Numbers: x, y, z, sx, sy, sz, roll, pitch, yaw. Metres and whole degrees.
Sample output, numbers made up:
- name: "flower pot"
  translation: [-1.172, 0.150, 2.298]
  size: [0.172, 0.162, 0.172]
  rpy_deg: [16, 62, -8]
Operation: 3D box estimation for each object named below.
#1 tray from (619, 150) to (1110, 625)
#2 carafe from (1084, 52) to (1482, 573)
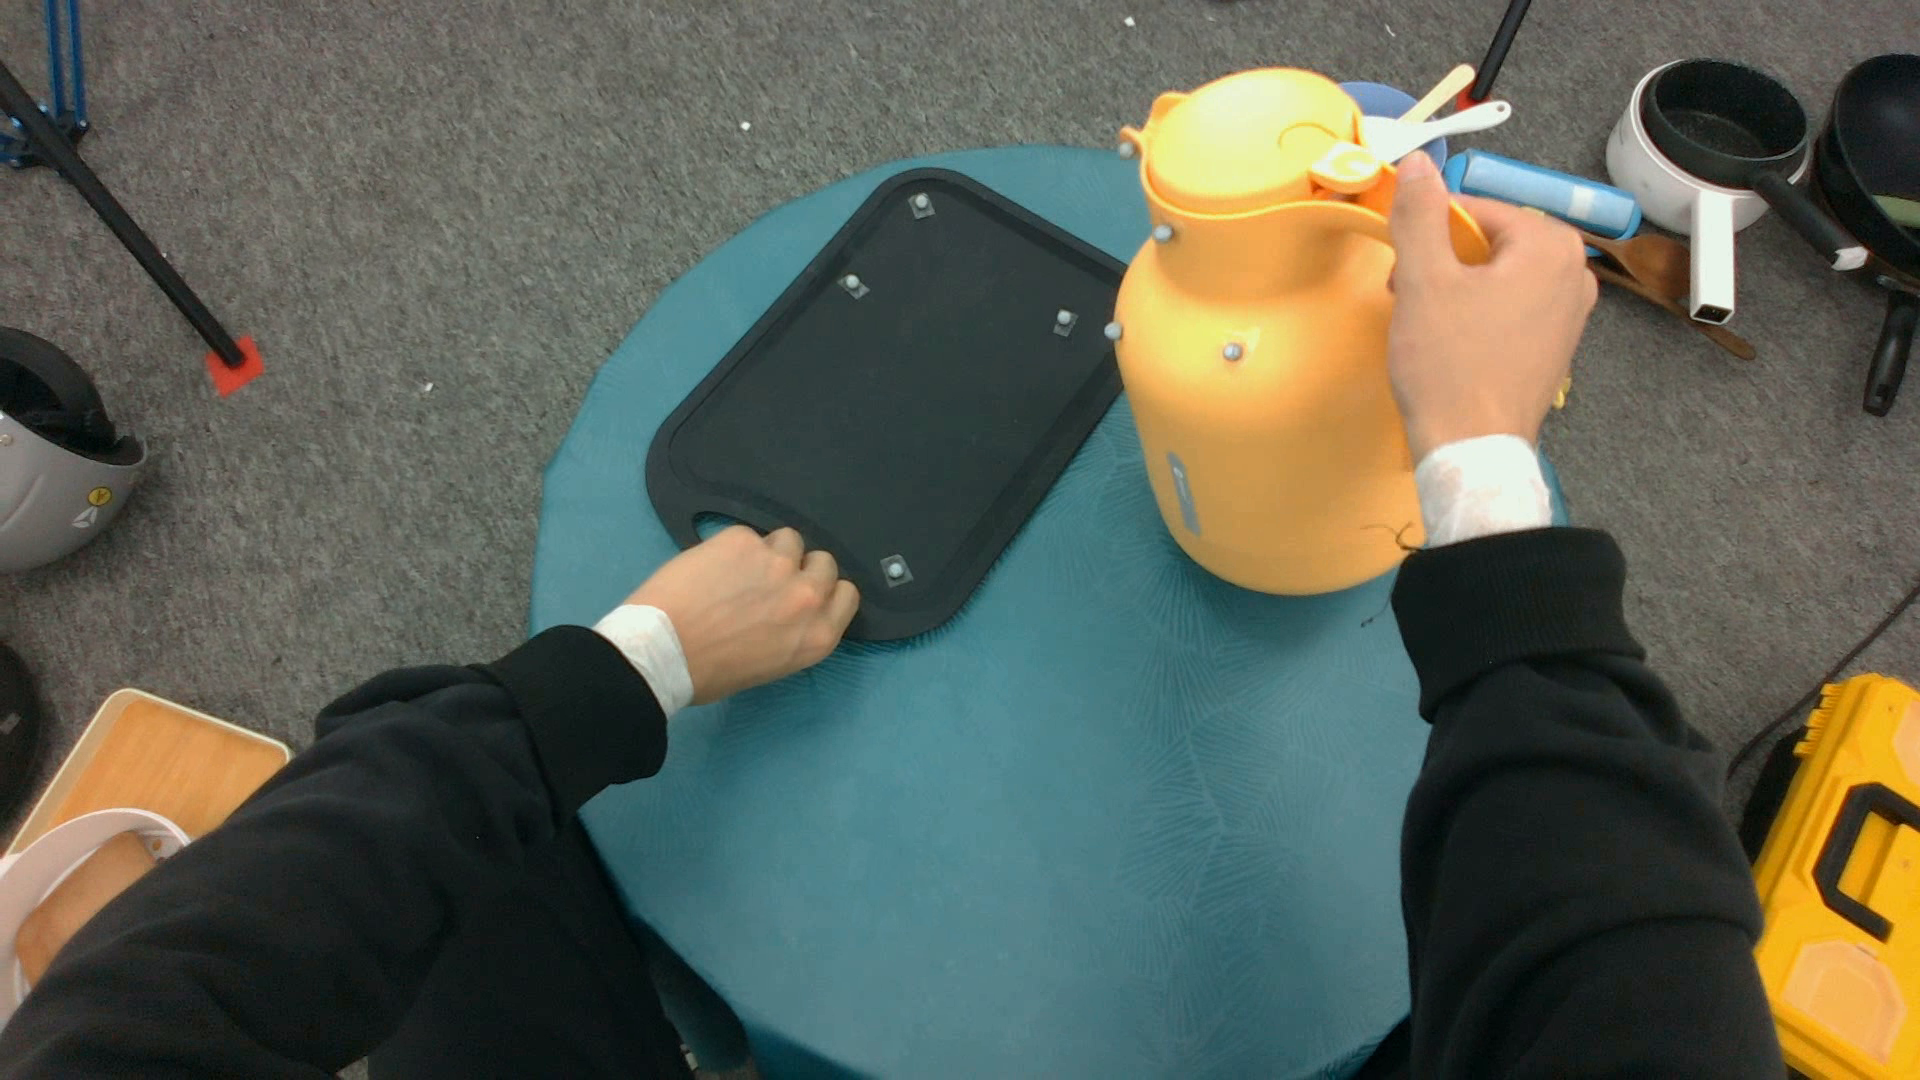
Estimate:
- name: "tray"
  translation: [-0.045, -0.099, 0.819]
  size: [0.211, 0.010, 0.327]
  rpy_deg: [32, 65, 12]
- name: "carafe"
  translation: [0.160, -0.102, 0.677]
  size: [0.164, 0.259, 0.202]
  rpy_deg: [-44, 48, -14]
